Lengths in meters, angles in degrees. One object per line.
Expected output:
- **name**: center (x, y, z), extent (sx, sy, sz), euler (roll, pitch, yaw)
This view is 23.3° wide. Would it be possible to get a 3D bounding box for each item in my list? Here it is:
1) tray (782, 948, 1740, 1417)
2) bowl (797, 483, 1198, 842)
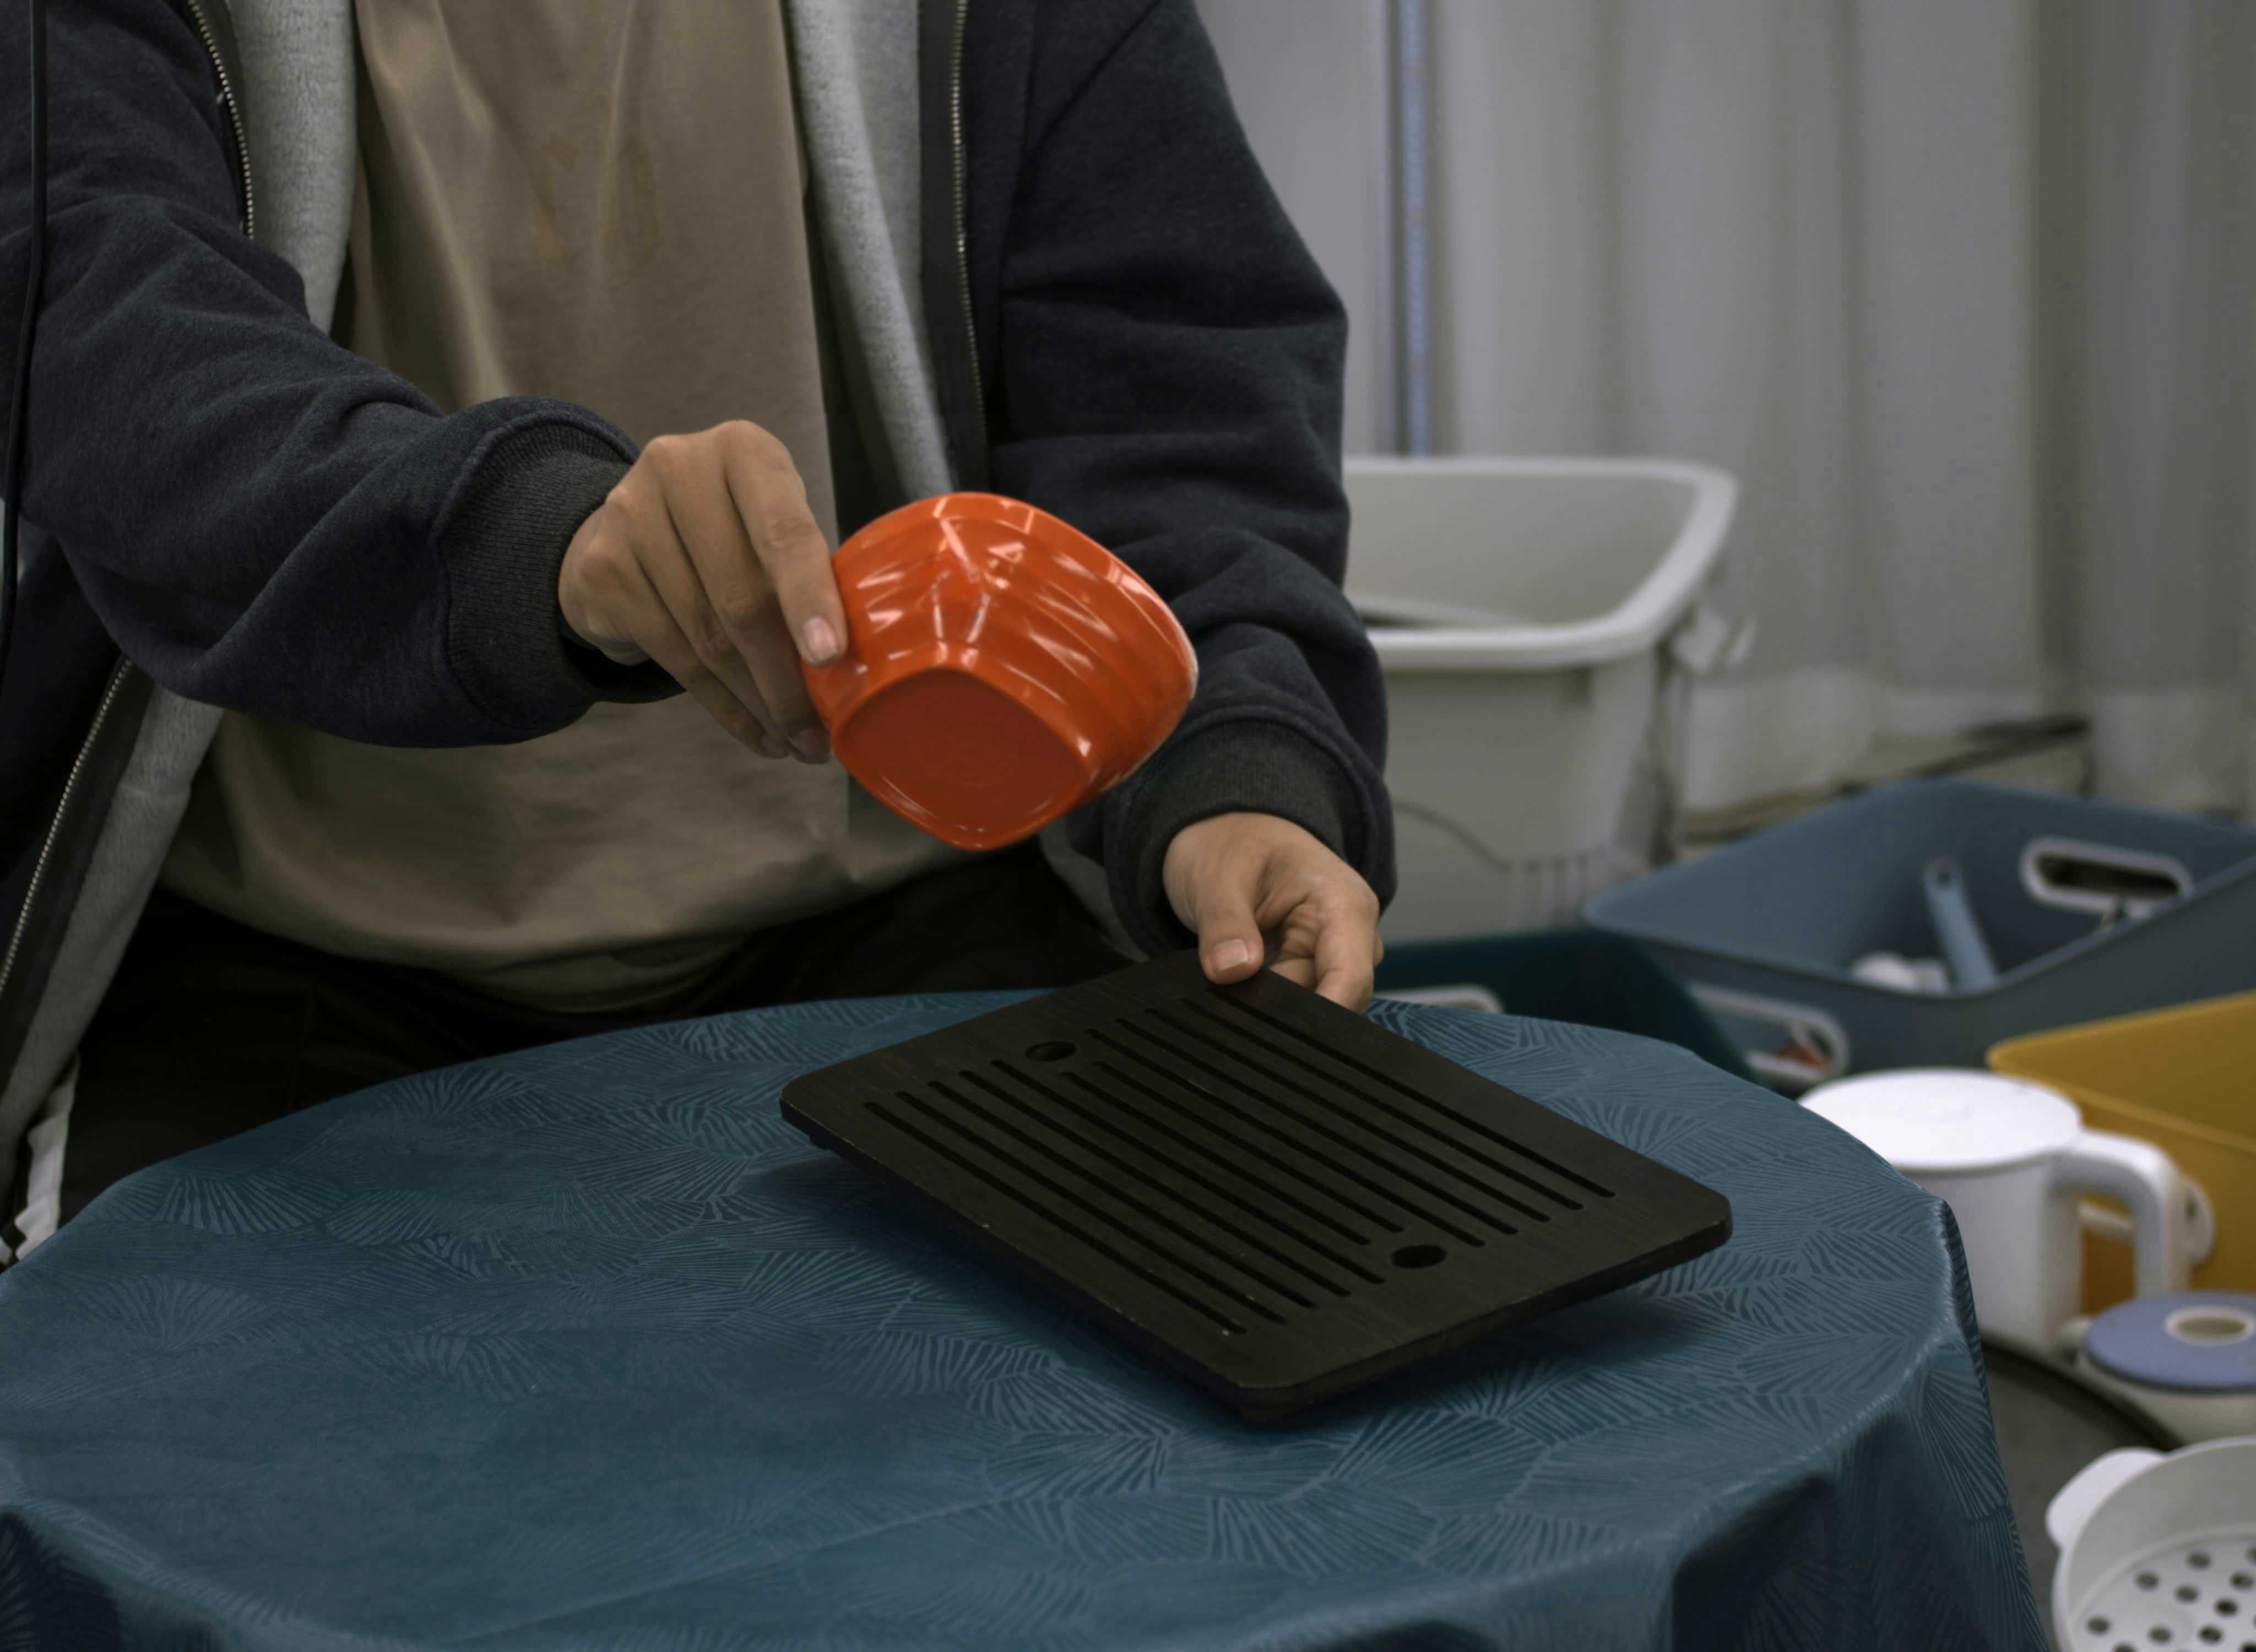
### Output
- **tray**: center (0.034, 0.104, 1.663), extent (0.170, 0.018, 0.308), euler (-18, 22, -26)
- **bowl**: center (-0.043, -0.039, 1.576), extent (0.119, 0.117, 0.052), euler (2, 47, 17)
